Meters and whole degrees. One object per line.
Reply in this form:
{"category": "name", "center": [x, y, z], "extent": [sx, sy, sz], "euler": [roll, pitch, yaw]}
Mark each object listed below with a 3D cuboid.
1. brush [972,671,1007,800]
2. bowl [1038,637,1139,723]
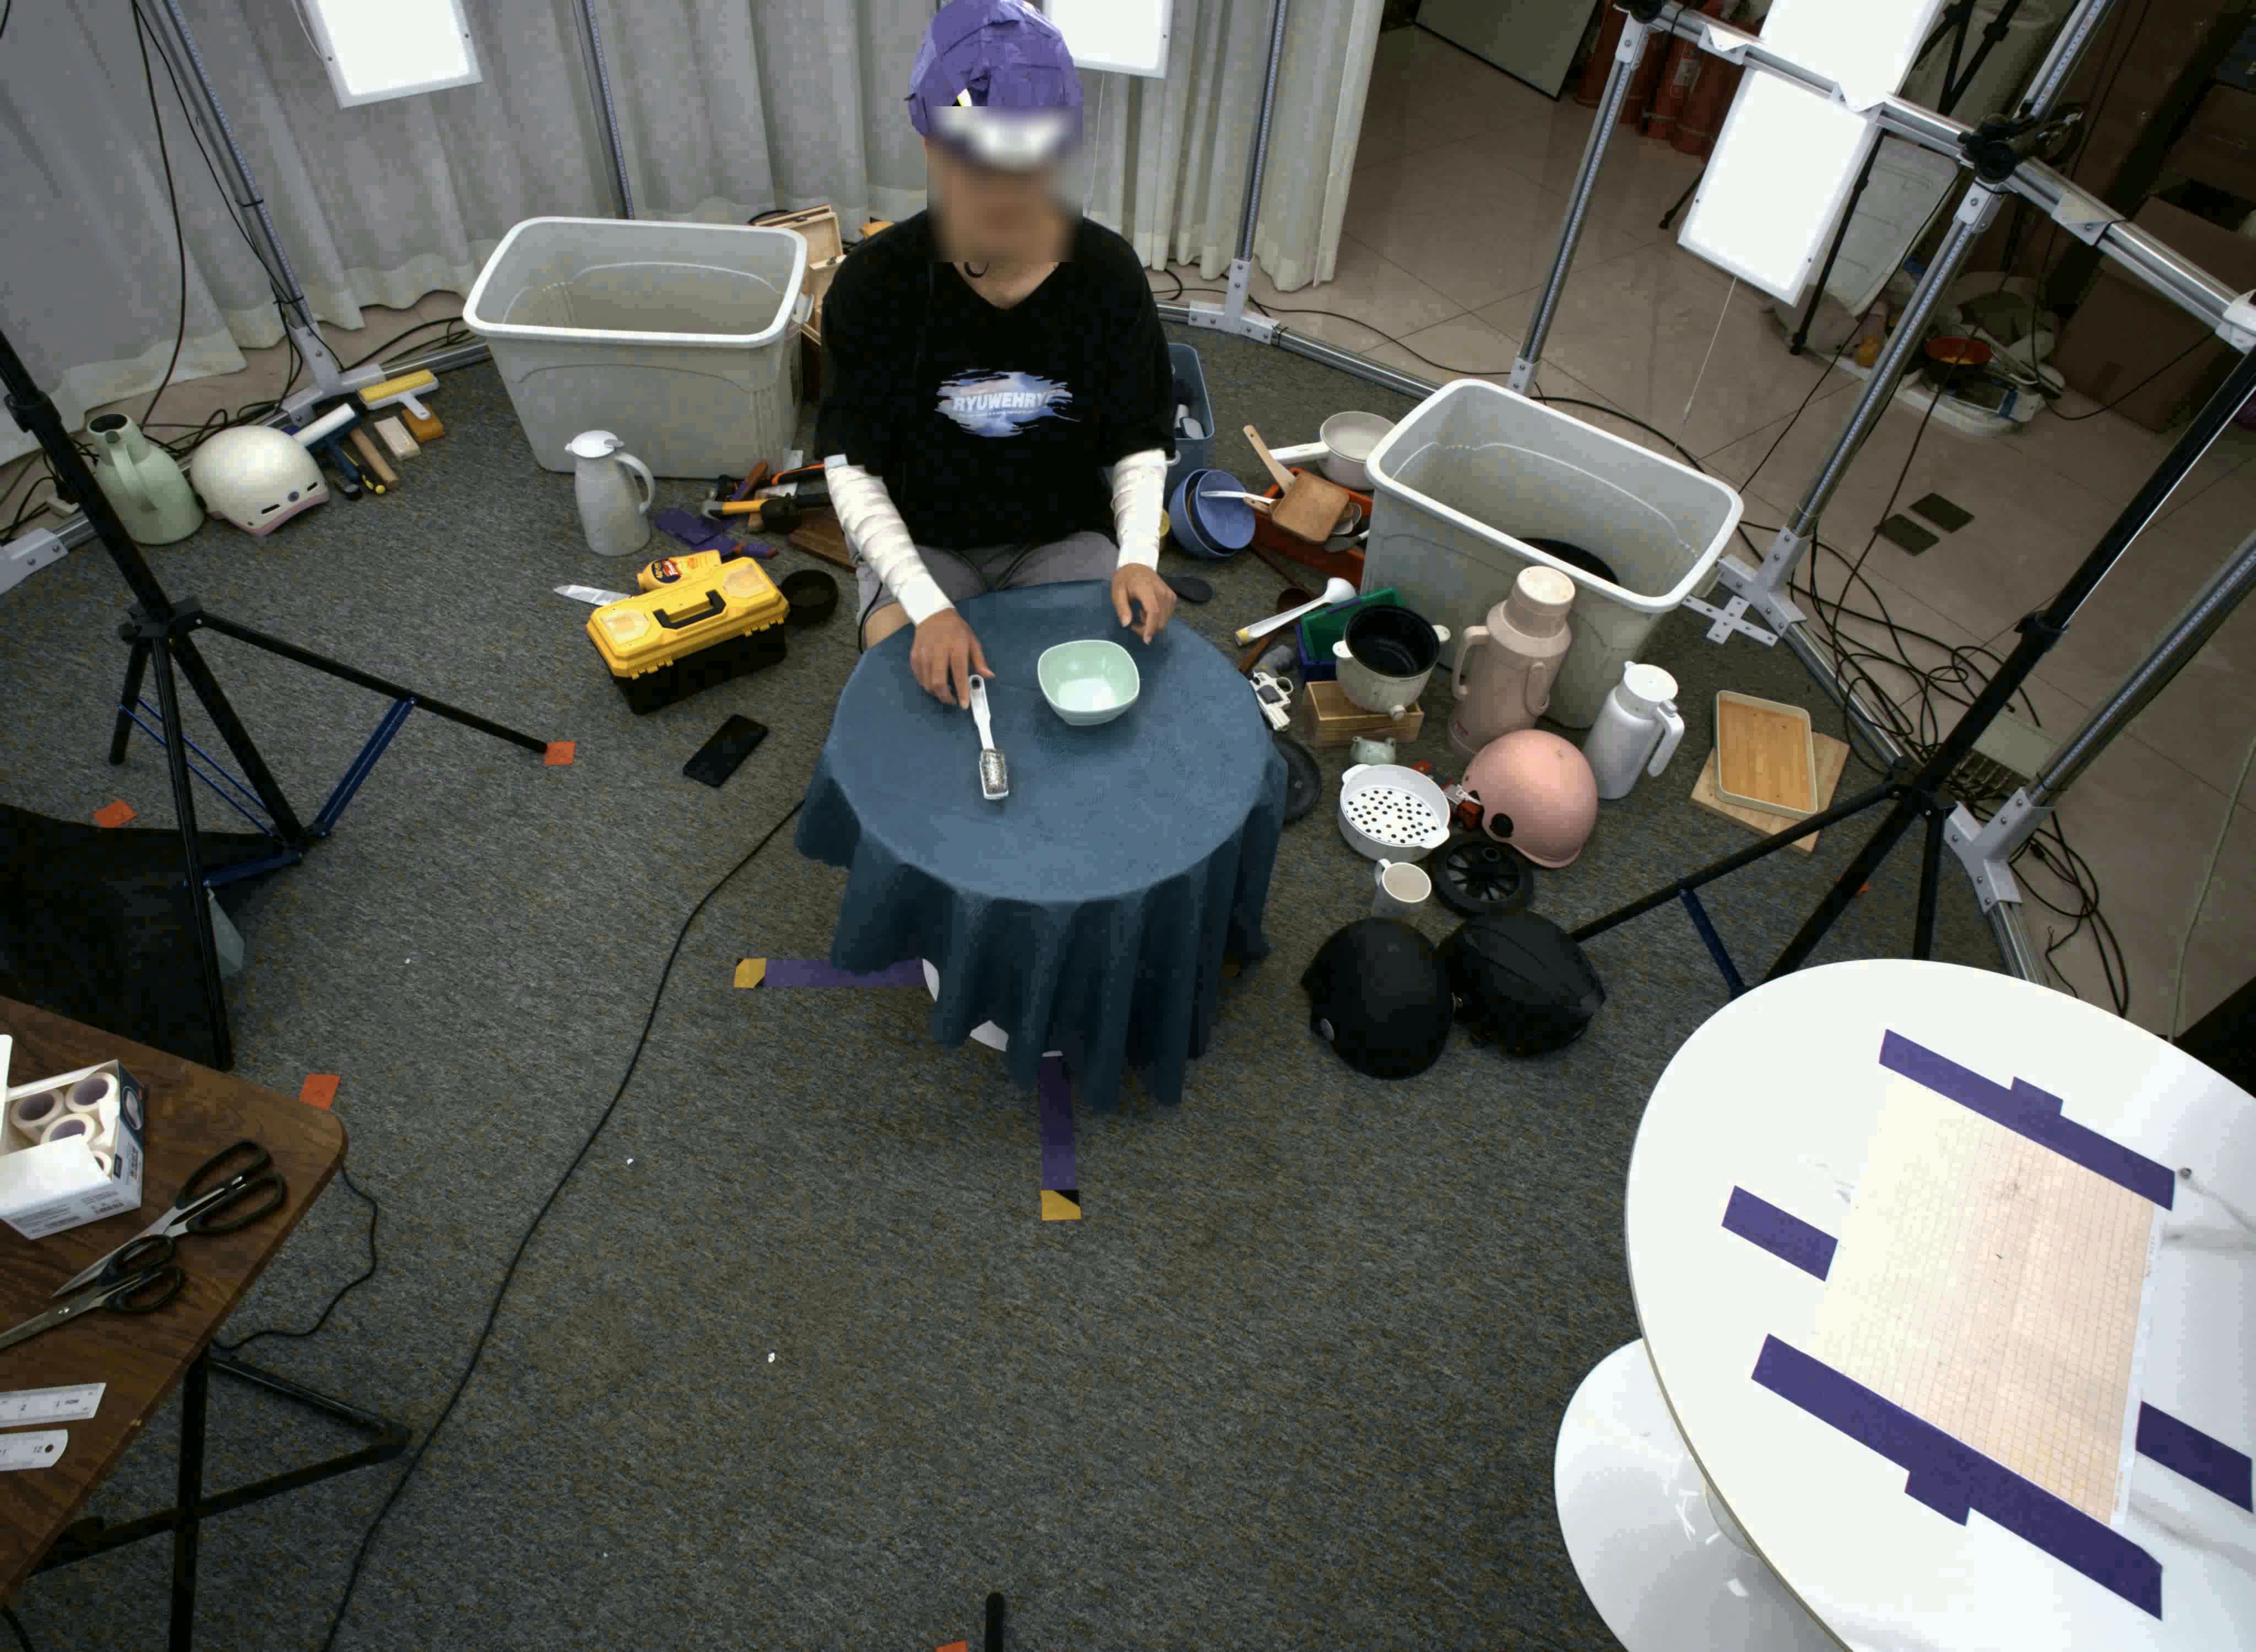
{"category": "brush", "center": [-0.191, -0.136, 1.746], "extent": [0.034, 0.049, 0.250], "euler": [-4, 51, -9]}
{"category": "bowl", "center": [-0.057, -0.196, 1.799], "extent": [0.151, 0.057, 0.155], "euler": [4, 51, -5]}
